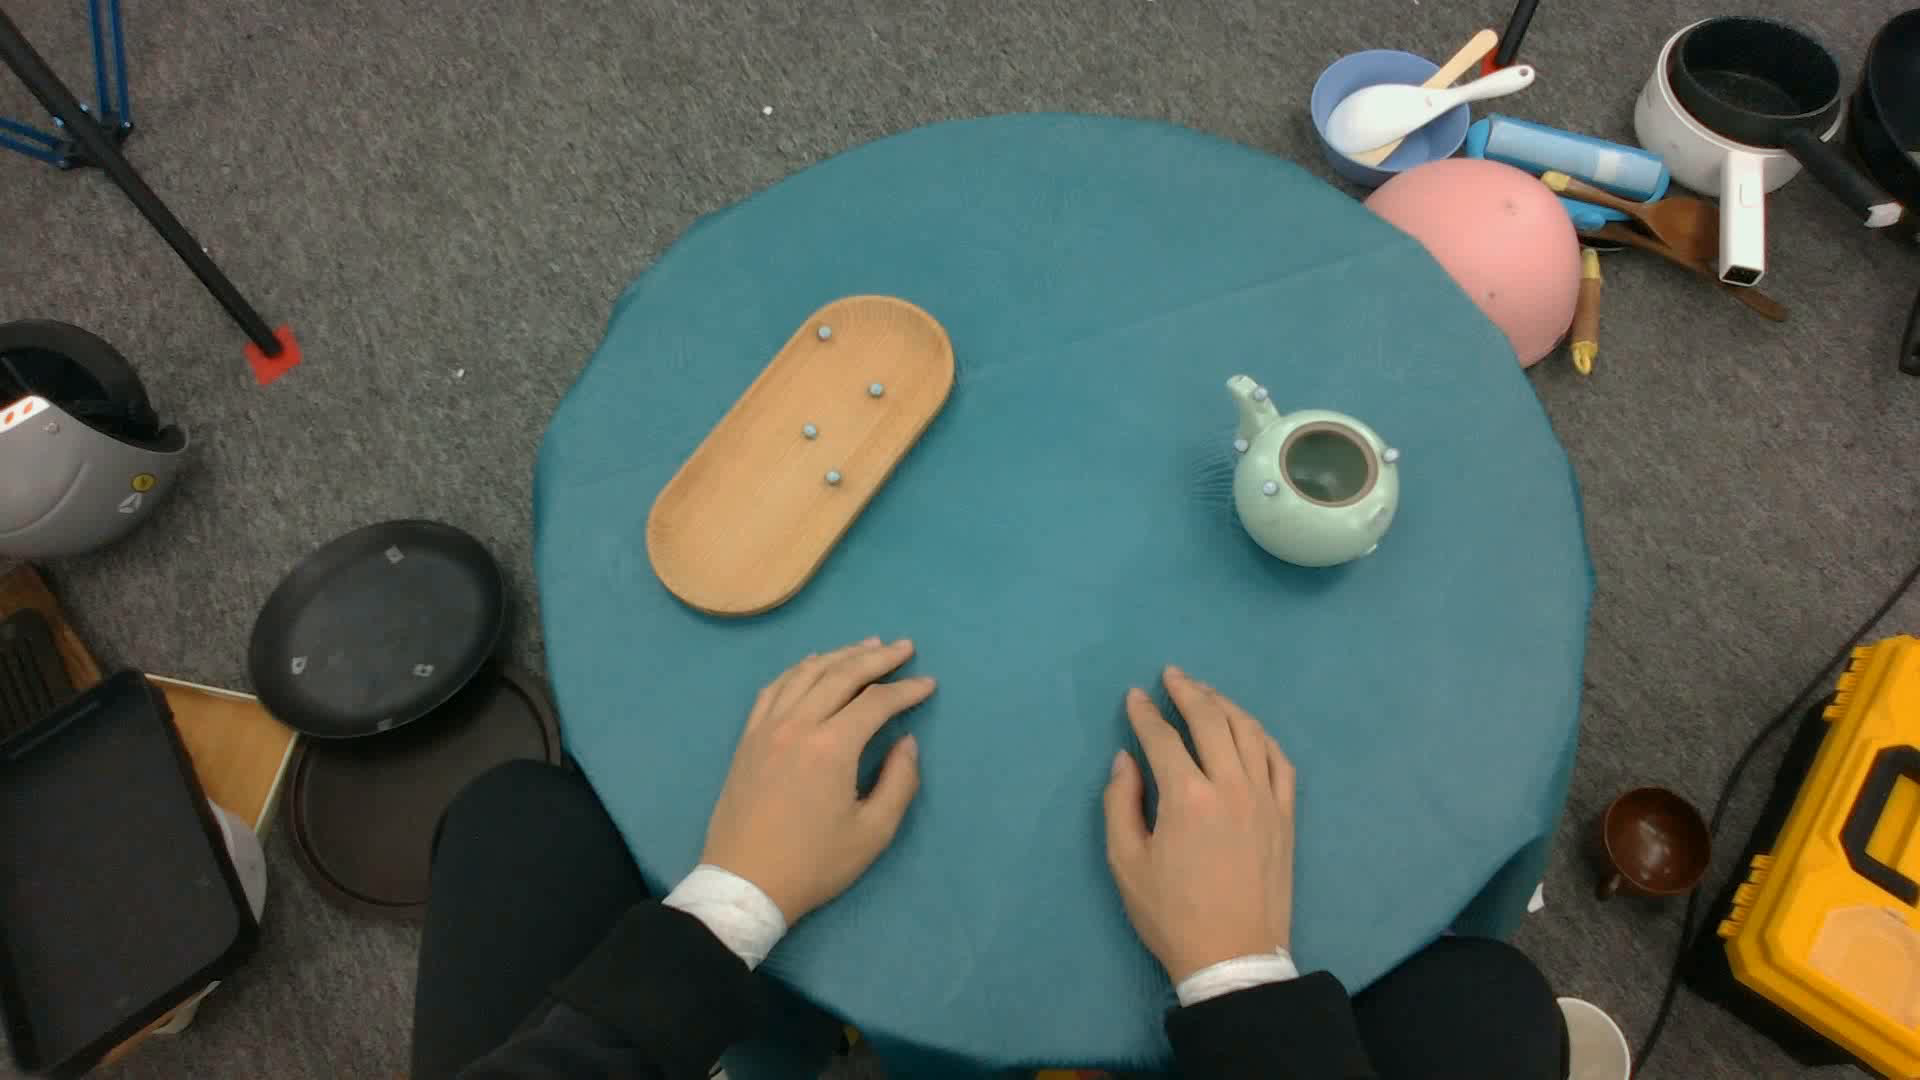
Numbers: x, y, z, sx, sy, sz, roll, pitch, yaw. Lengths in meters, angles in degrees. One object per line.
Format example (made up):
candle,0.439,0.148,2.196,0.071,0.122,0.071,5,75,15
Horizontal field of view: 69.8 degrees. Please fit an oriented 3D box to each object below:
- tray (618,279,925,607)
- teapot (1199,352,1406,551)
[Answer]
tray,-0.106,-0.060,0.799,0.101,0.020,0.232,29,70,13
teapot,0.183,-0.041,0.765,0.088,0.074,0.144,-38,70,-16
